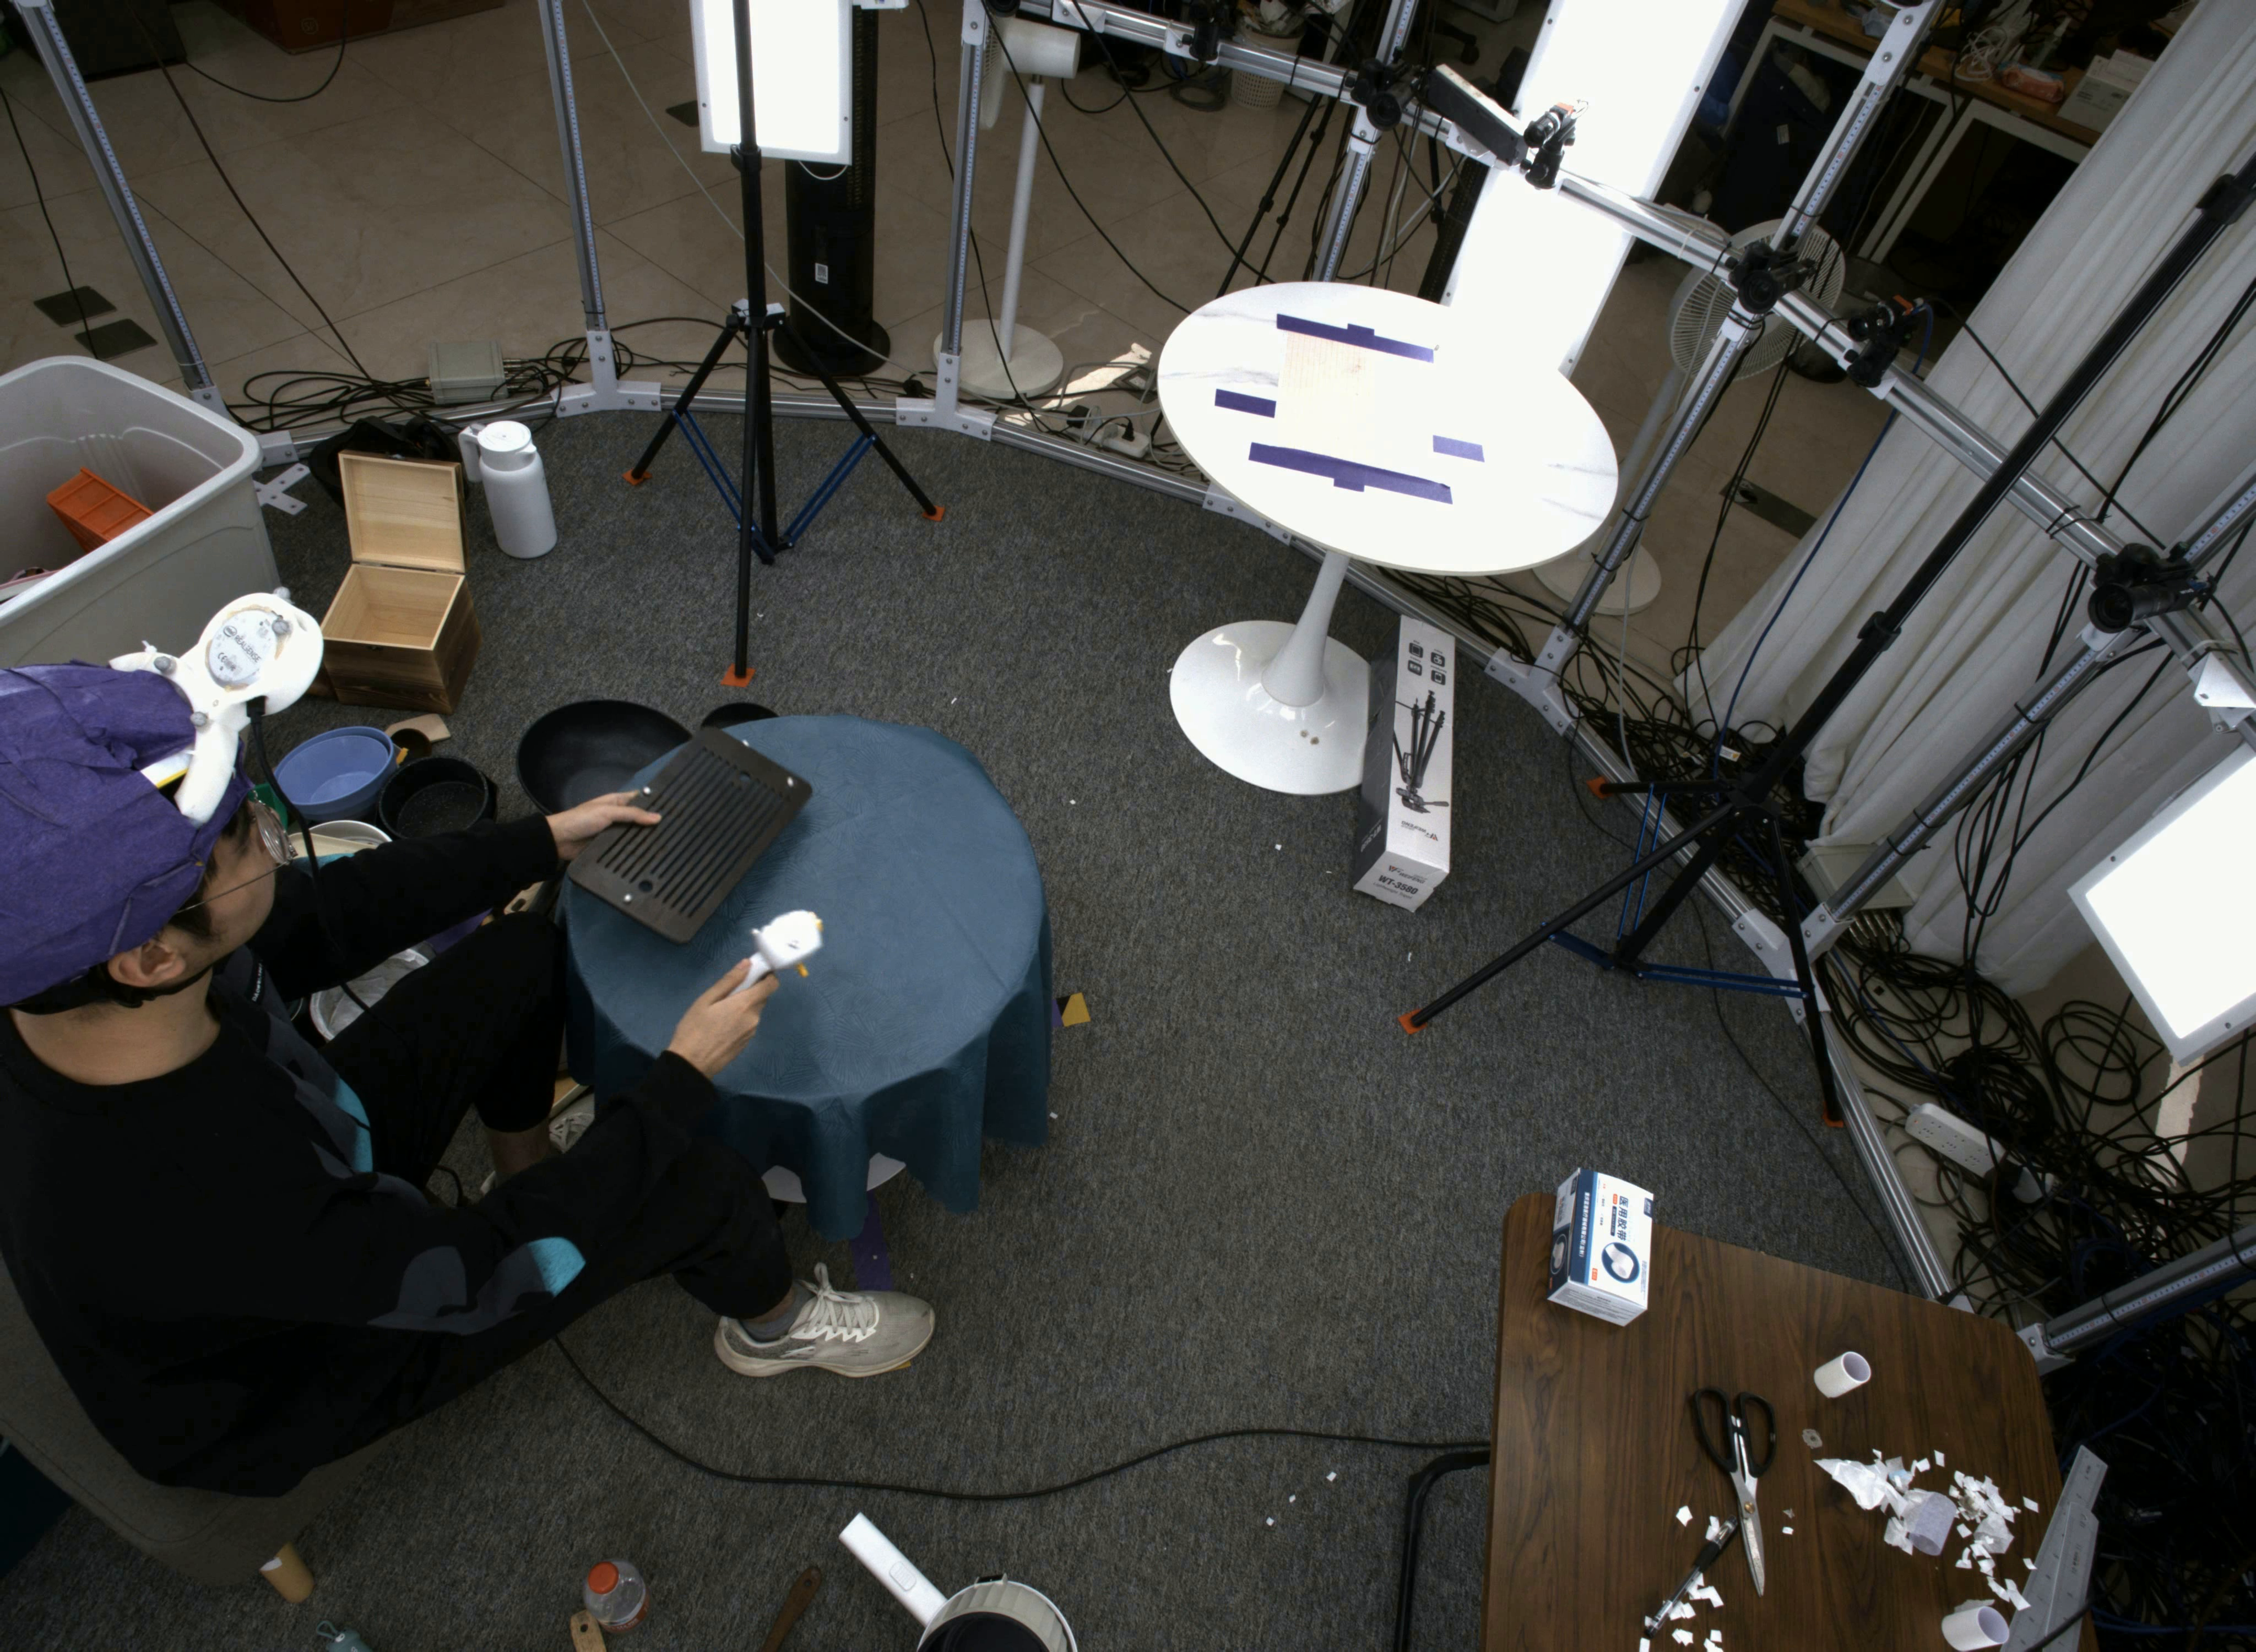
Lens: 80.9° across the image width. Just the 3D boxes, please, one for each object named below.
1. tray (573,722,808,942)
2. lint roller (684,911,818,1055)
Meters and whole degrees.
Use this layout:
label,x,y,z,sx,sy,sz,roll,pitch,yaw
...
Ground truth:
label,x,y,z,sx,sy,sz,roll,pitch,yaw
tray,-0.544,0.000,1.609,0.170,0.019,0.303,31,47,-4
lint roller,-0.425,0.169,1.438,0.192,0.190,0.075,-39,97,-14
